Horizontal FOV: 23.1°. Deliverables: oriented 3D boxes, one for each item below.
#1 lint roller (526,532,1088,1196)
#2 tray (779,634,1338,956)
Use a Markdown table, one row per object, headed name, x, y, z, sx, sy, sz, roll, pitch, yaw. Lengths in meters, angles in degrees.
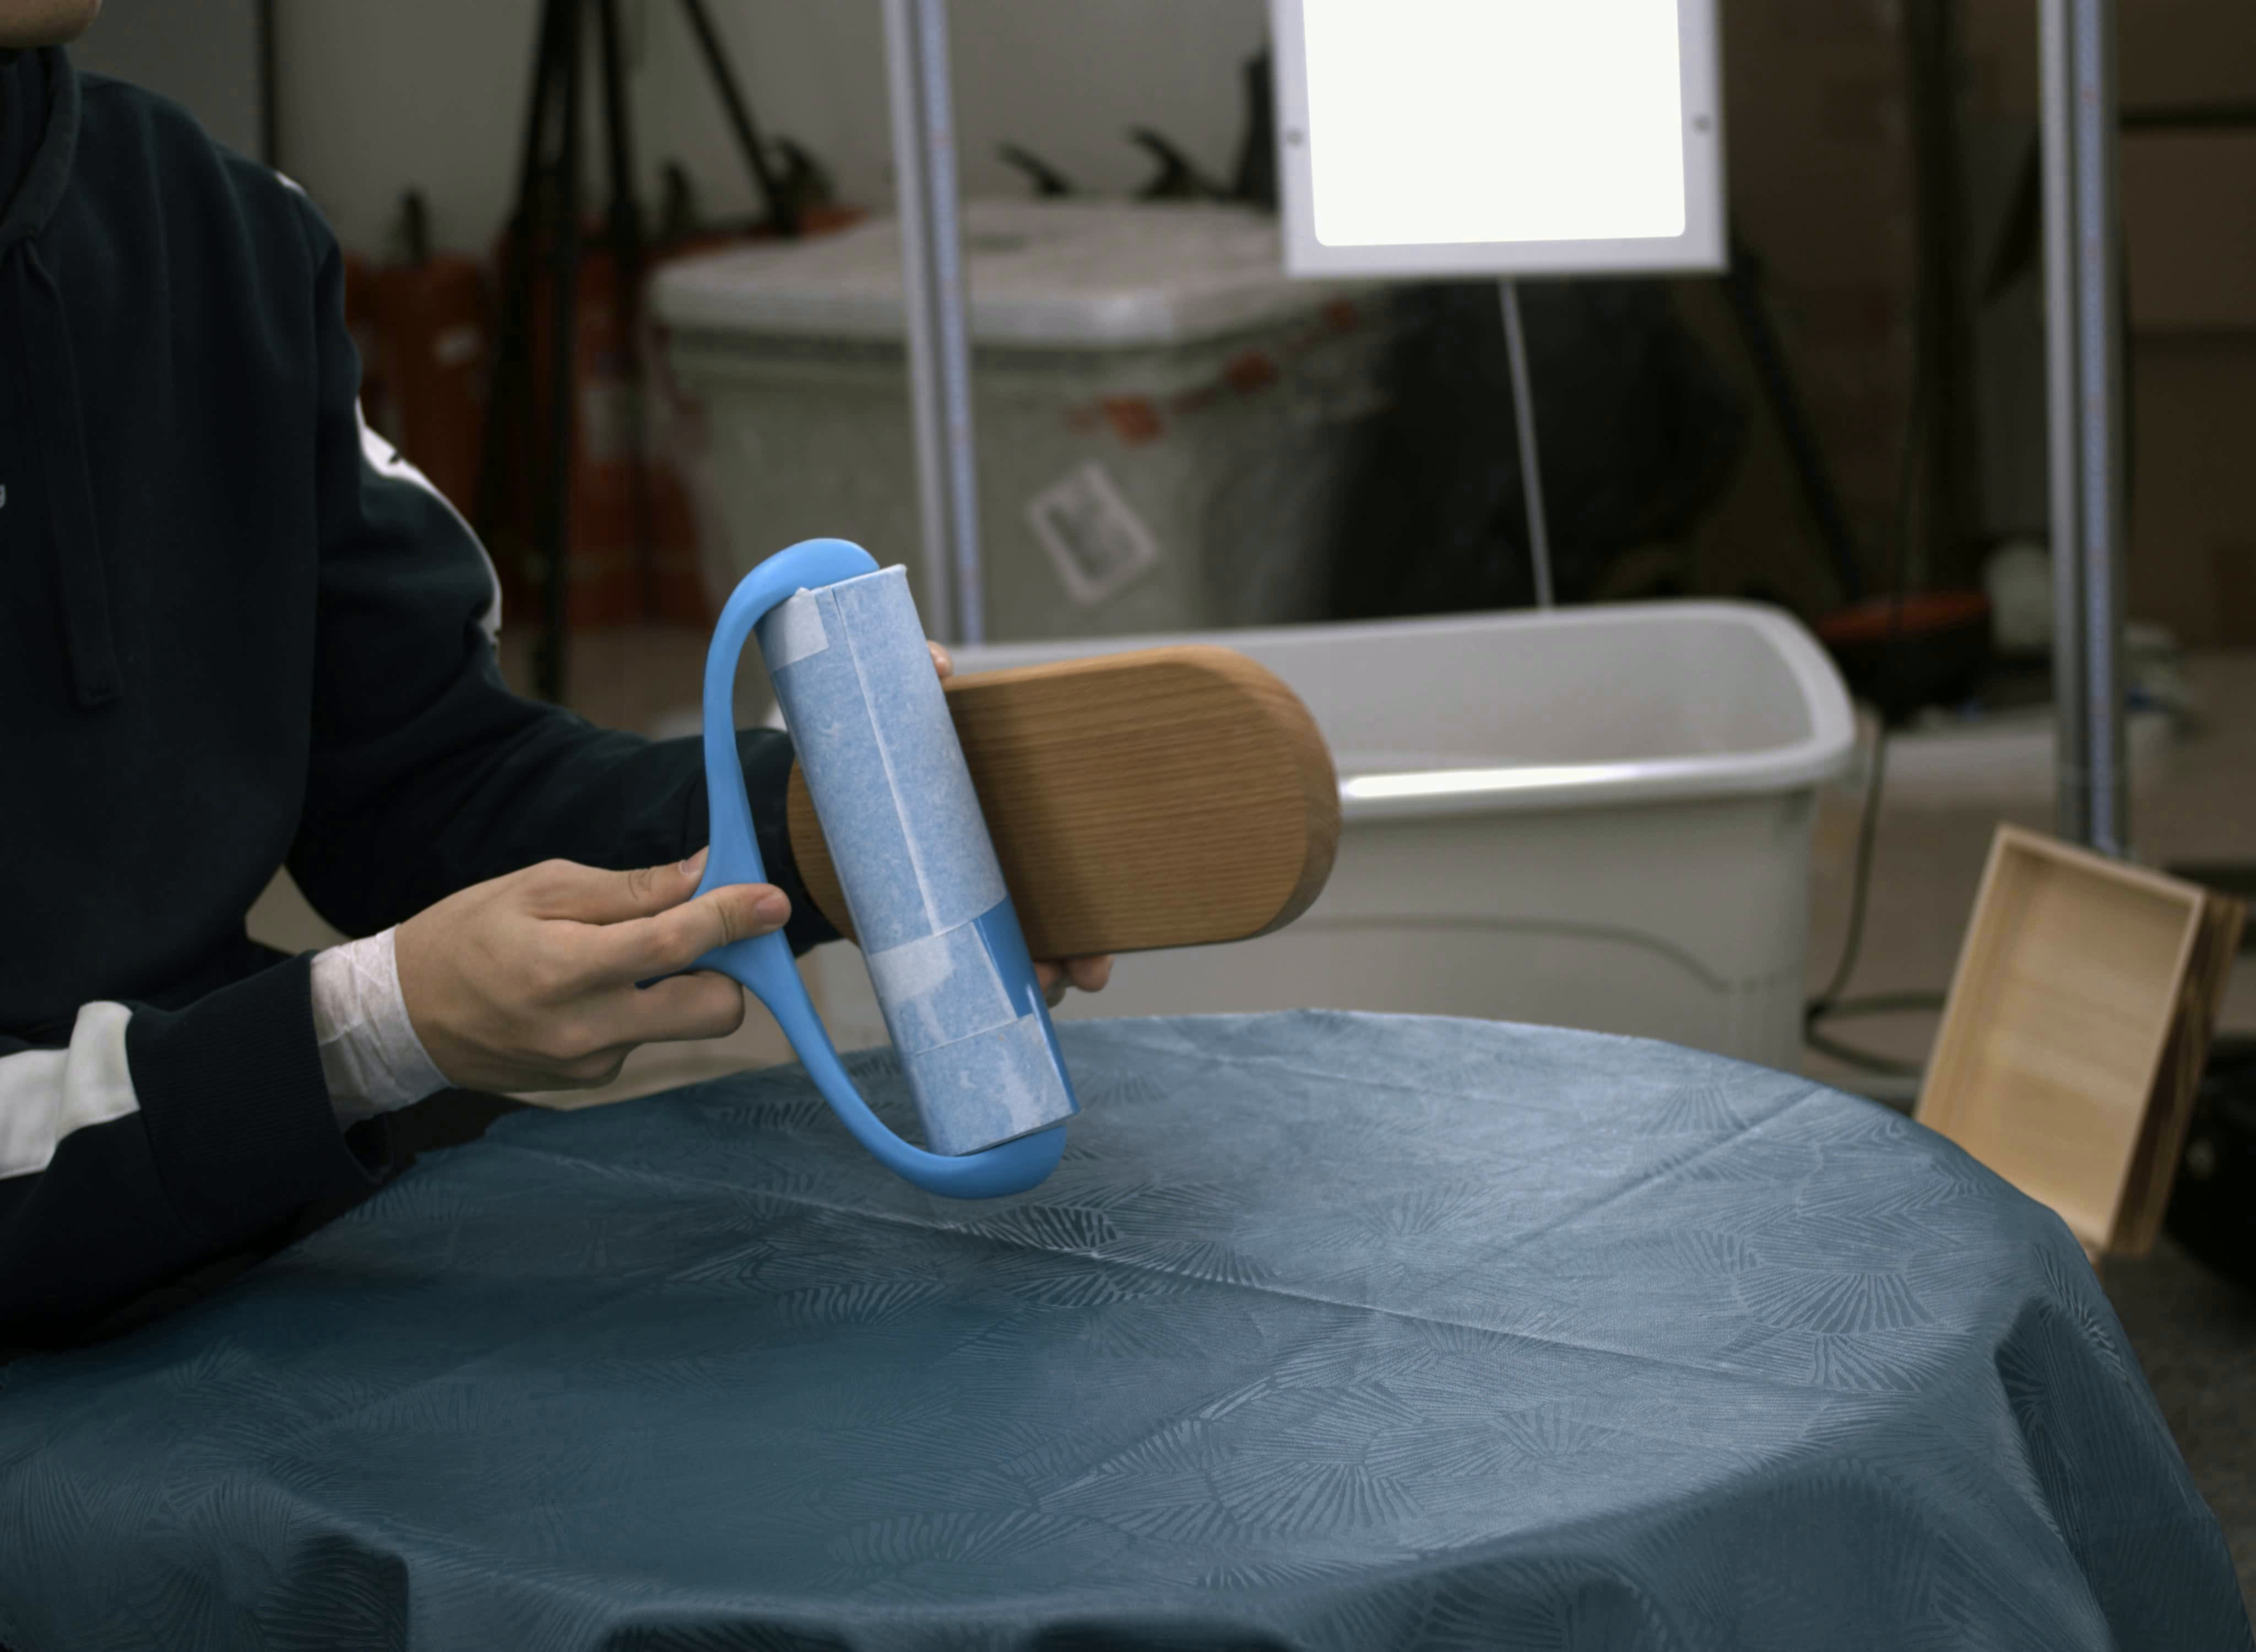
| name | x | y | z | sx | sy | sz | roll | pitch | yaw |
| --- | --- | --- | --- | --- | --- | --- | --- | --- | --- |
| lint roller | -0.124 | 0.034 | 1.841 | 0.181 | 0.229 | 0.067 | -22 | -1 | 12 |
| tray | -0.028 | -0.007 | 1.839 | 0.236 | 0.102 | 0.020 | -6 | 9 | 38 |
